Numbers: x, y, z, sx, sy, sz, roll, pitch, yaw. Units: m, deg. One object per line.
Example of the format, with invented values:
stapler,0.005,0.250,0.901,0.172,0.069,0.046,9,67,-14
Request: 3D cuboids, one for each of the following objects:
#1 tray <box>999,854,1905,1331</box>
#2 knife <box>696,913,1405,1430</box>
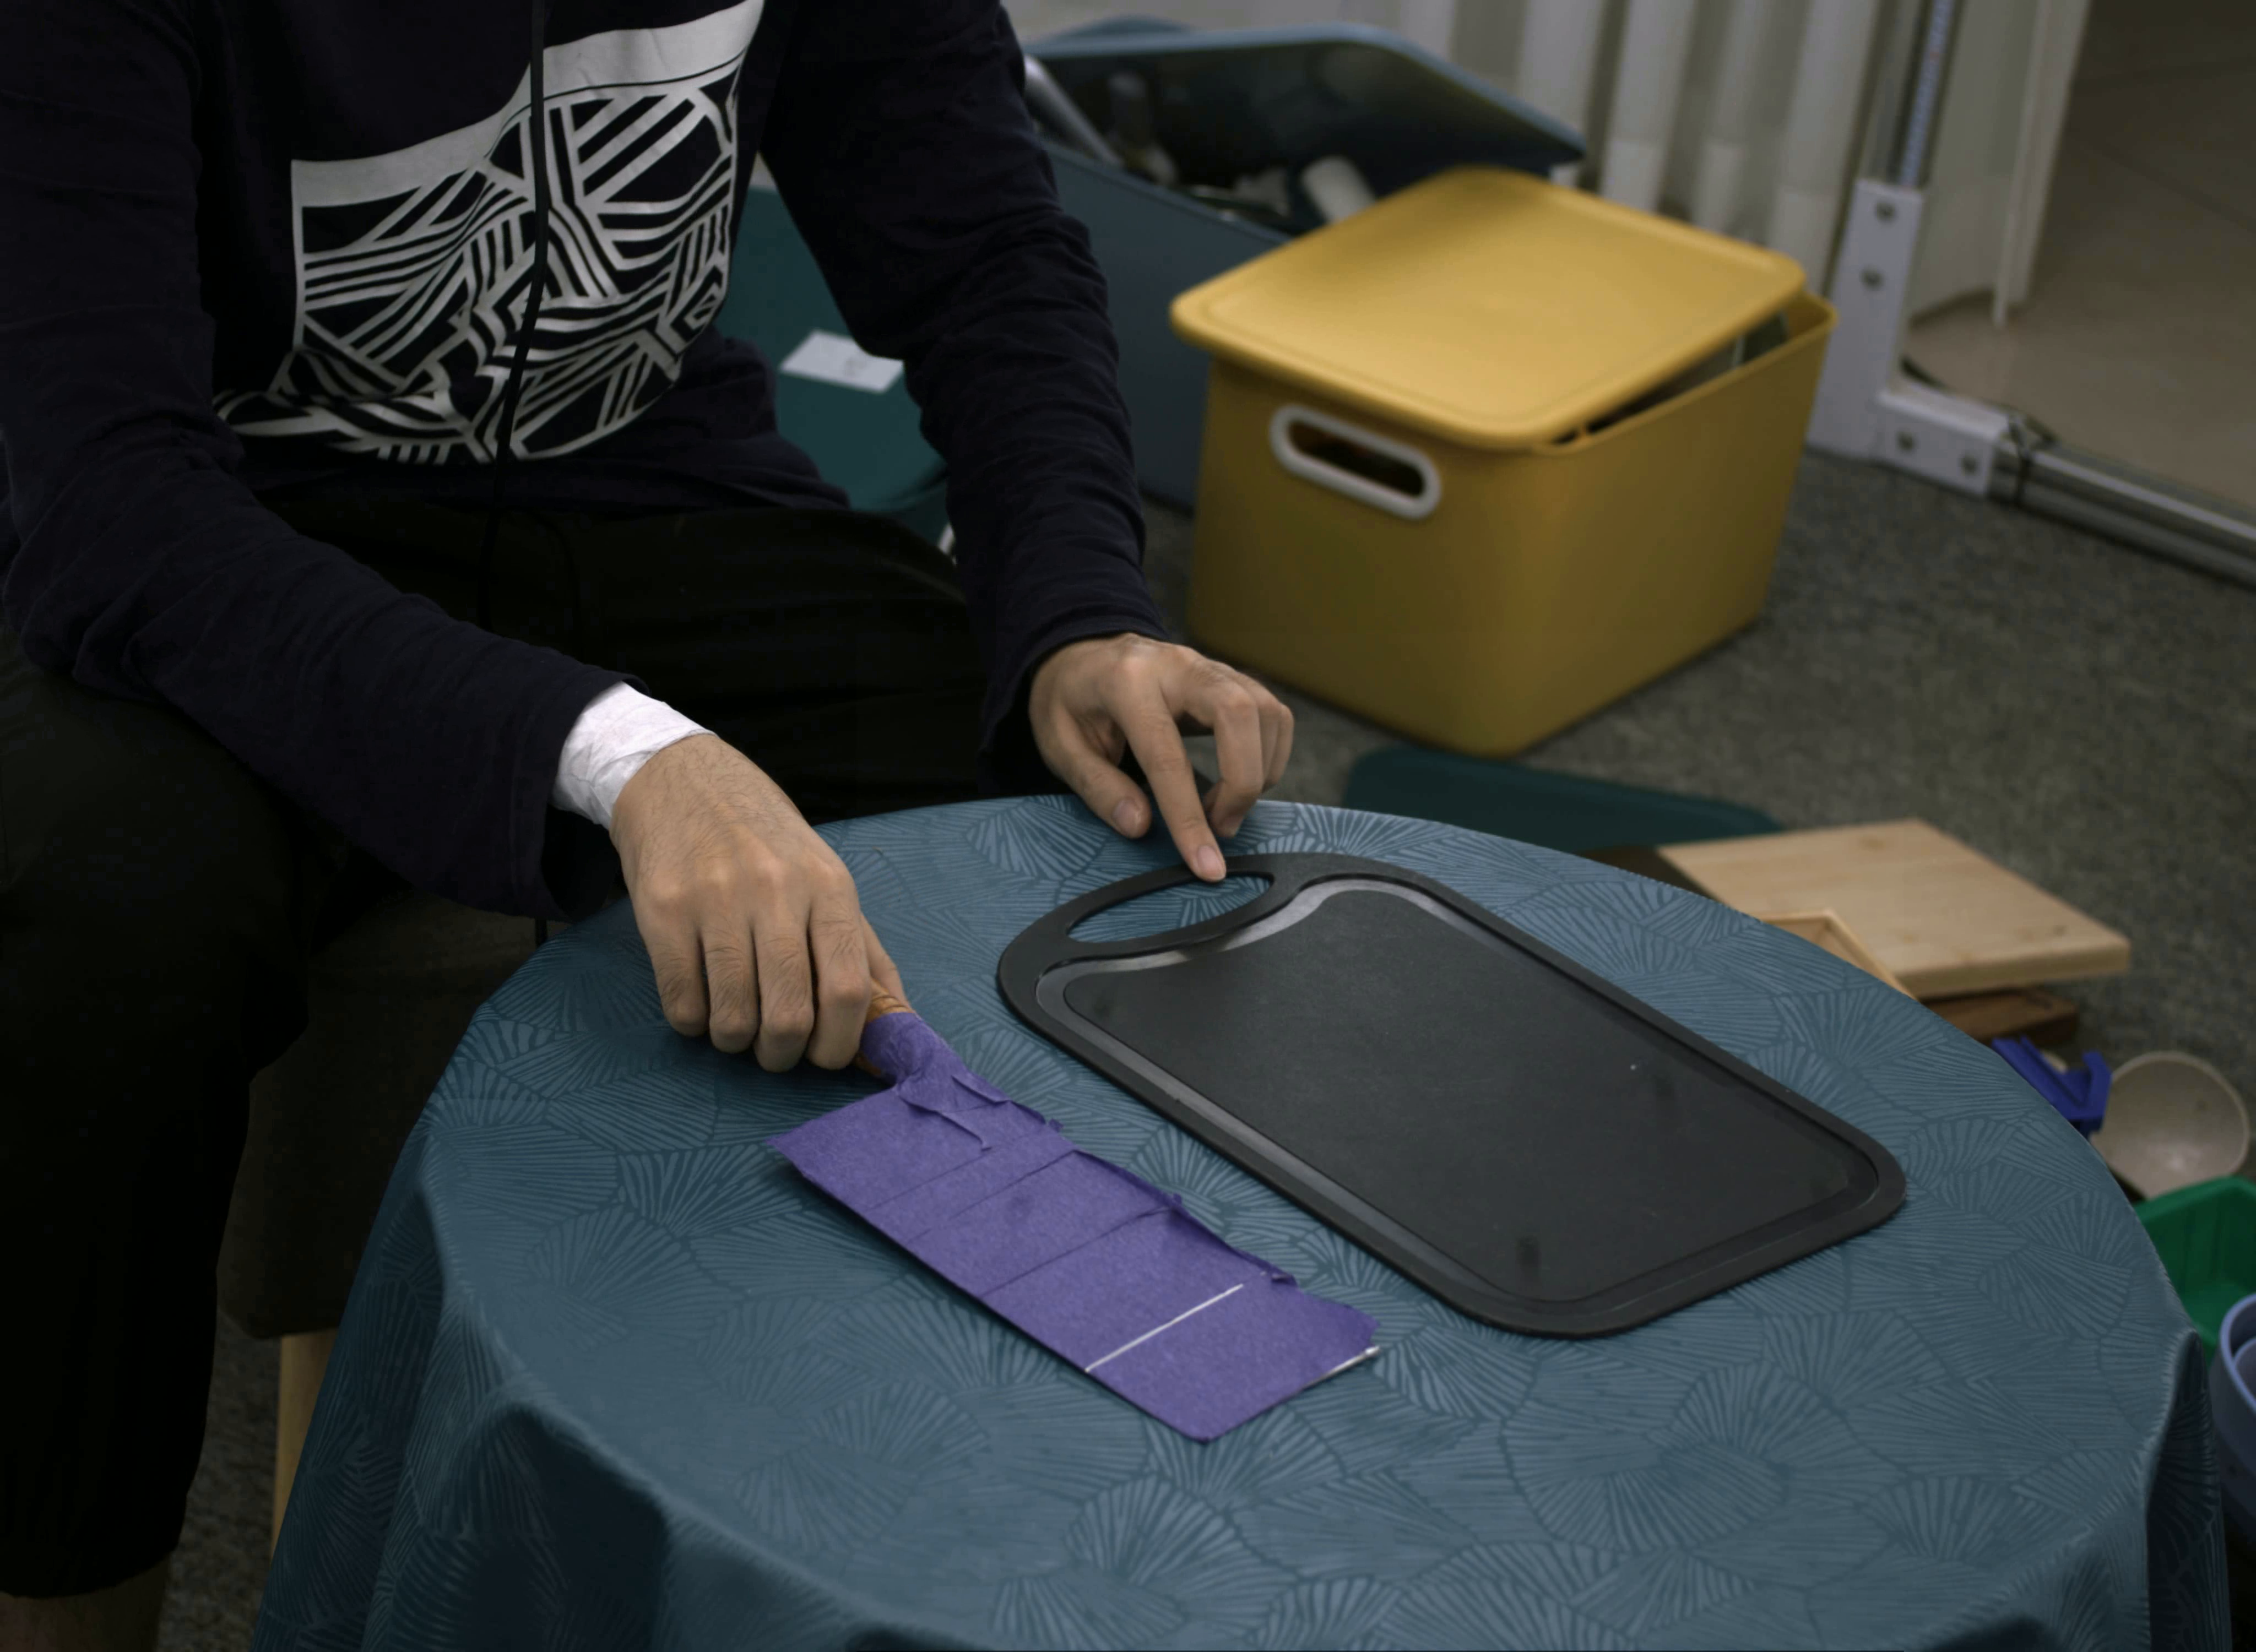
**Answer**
tray,0.106,0.085,1.898,0.210,0.010,0.328,-16,34,-38
knife,-0.054,0.112,1.787,0.317,0.032,0.103,28,34,36
